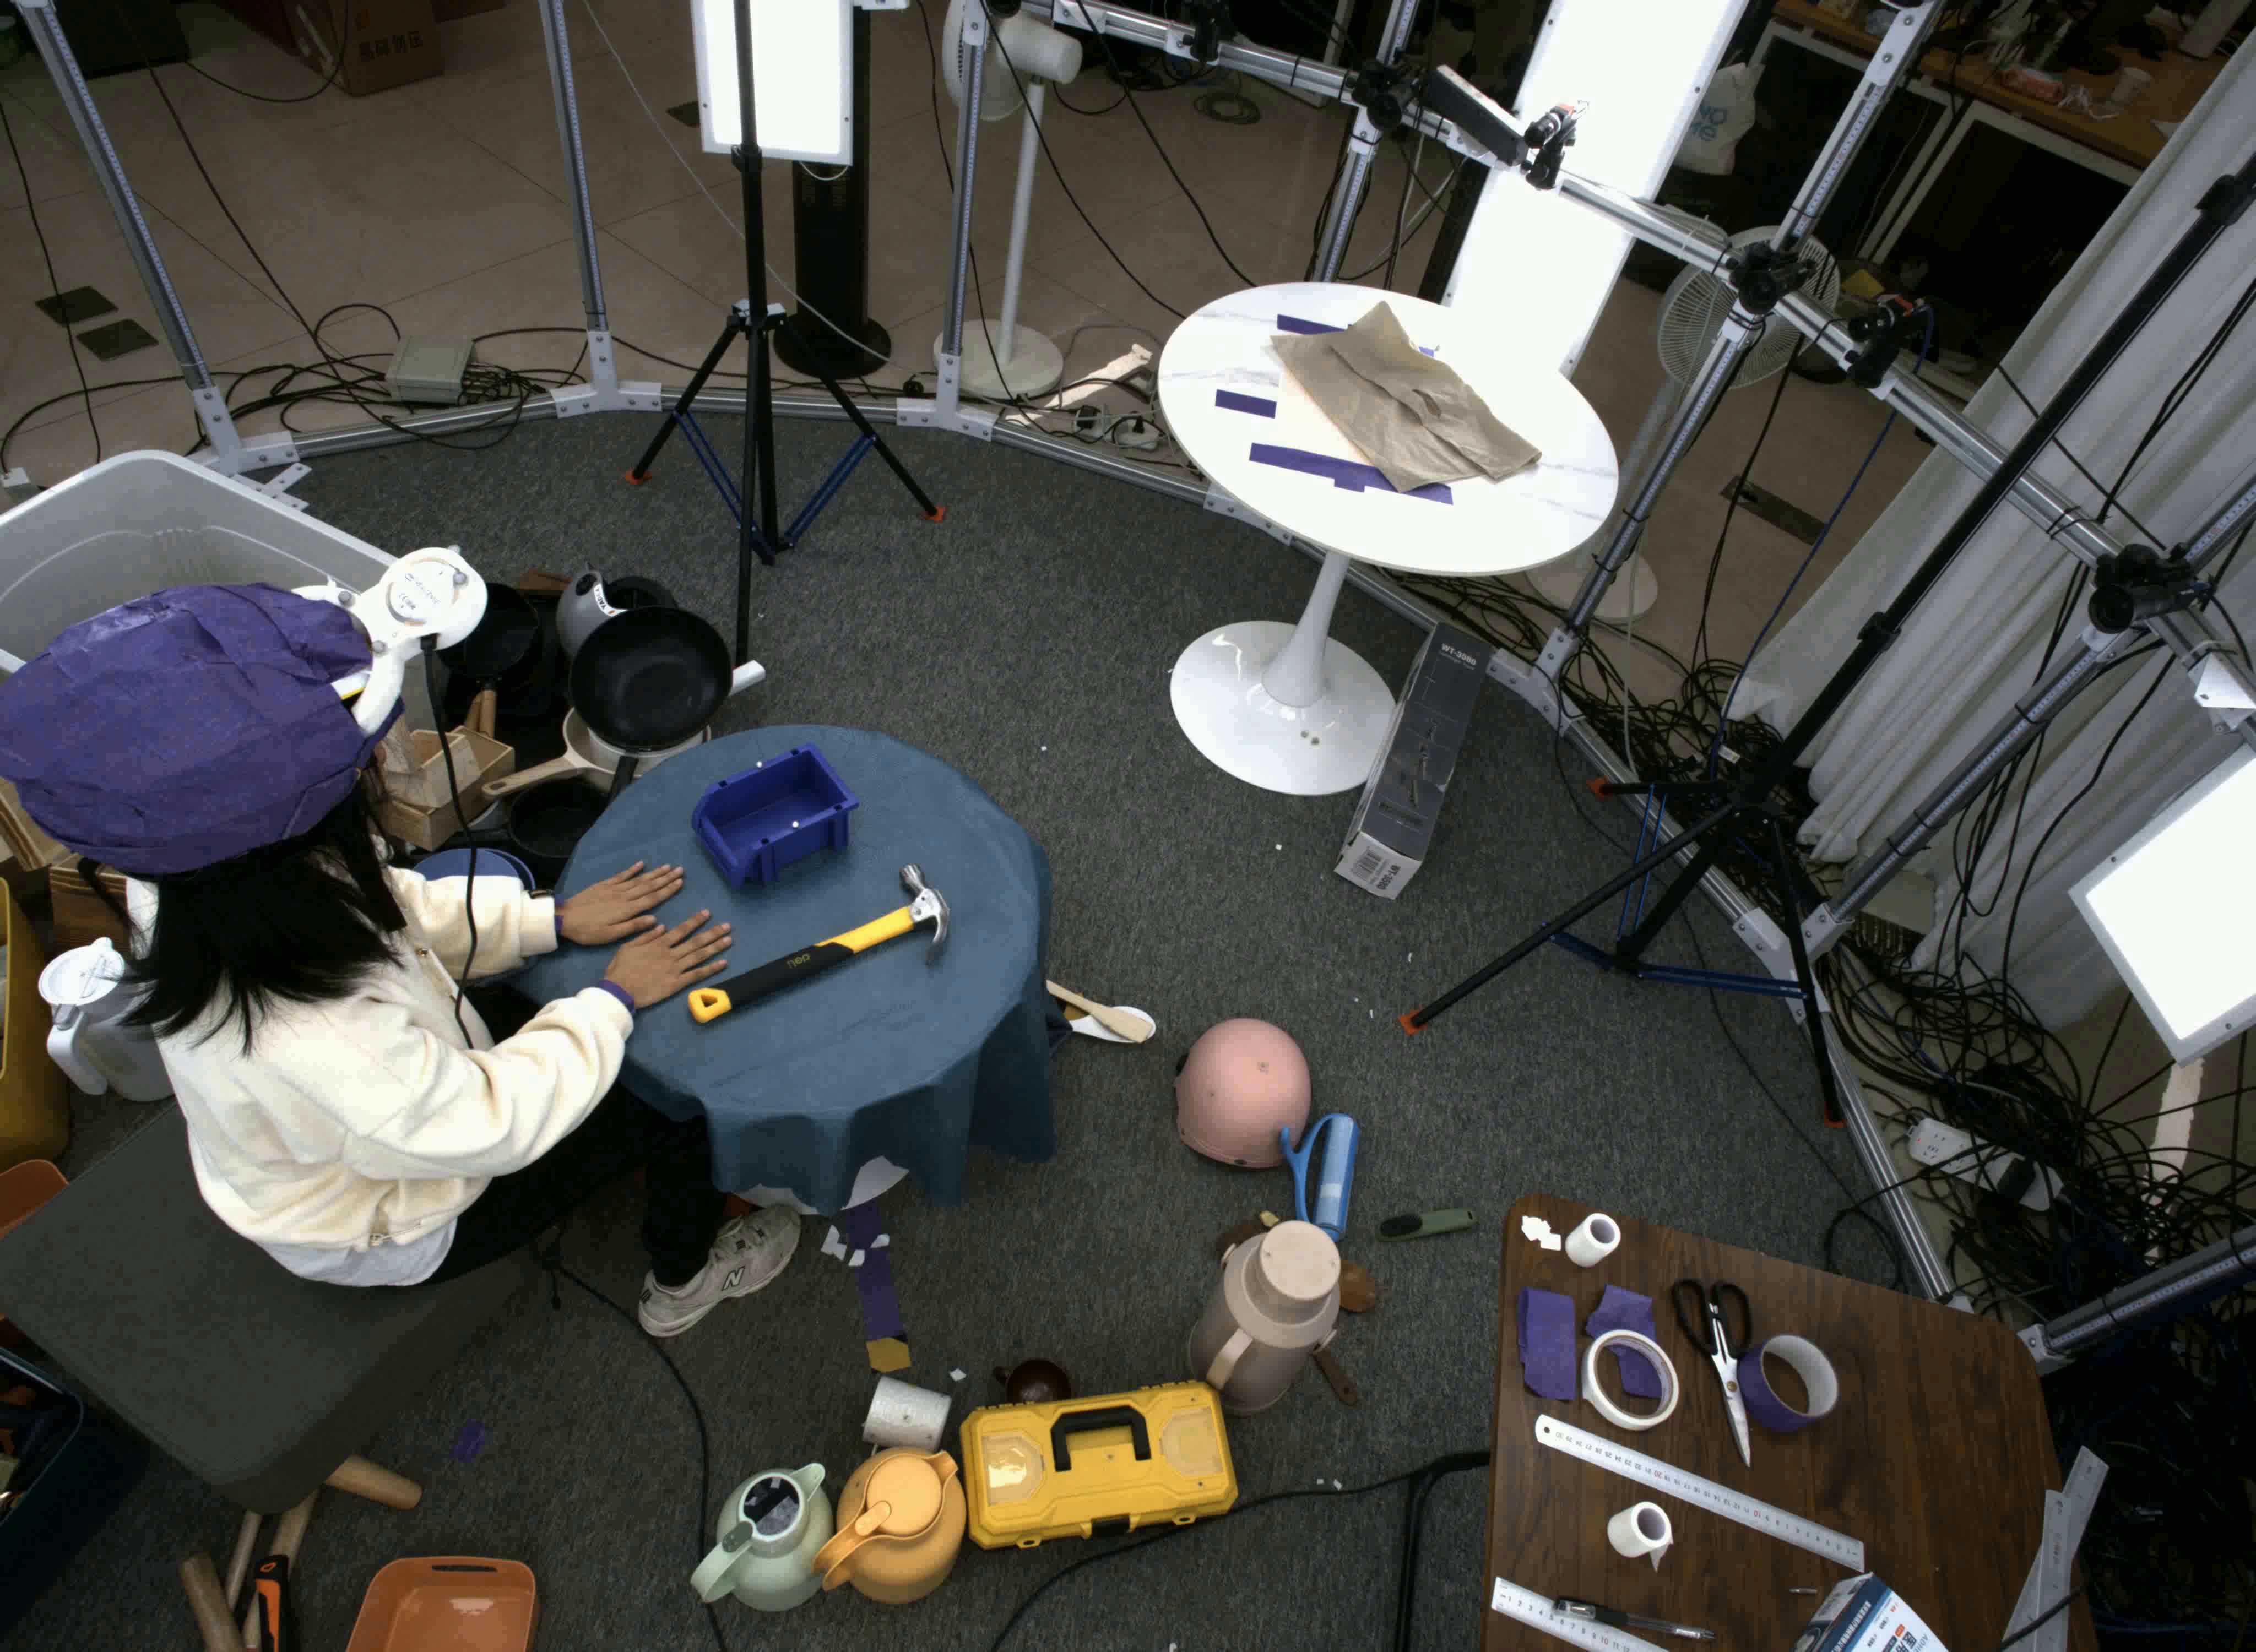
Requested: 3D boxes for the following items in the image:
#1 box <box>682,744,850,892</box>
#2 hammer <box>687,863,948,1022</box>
[{"bbox_3d":[-0.464,-0.007,1.661,0.180,0.083,0.121,-27,64,-32],"label":"box"},{"bbox_3d":[-0.376,0.154,1.594,0.340,0.033,0.128,-22,64,-28],"label":"hammer"}]
